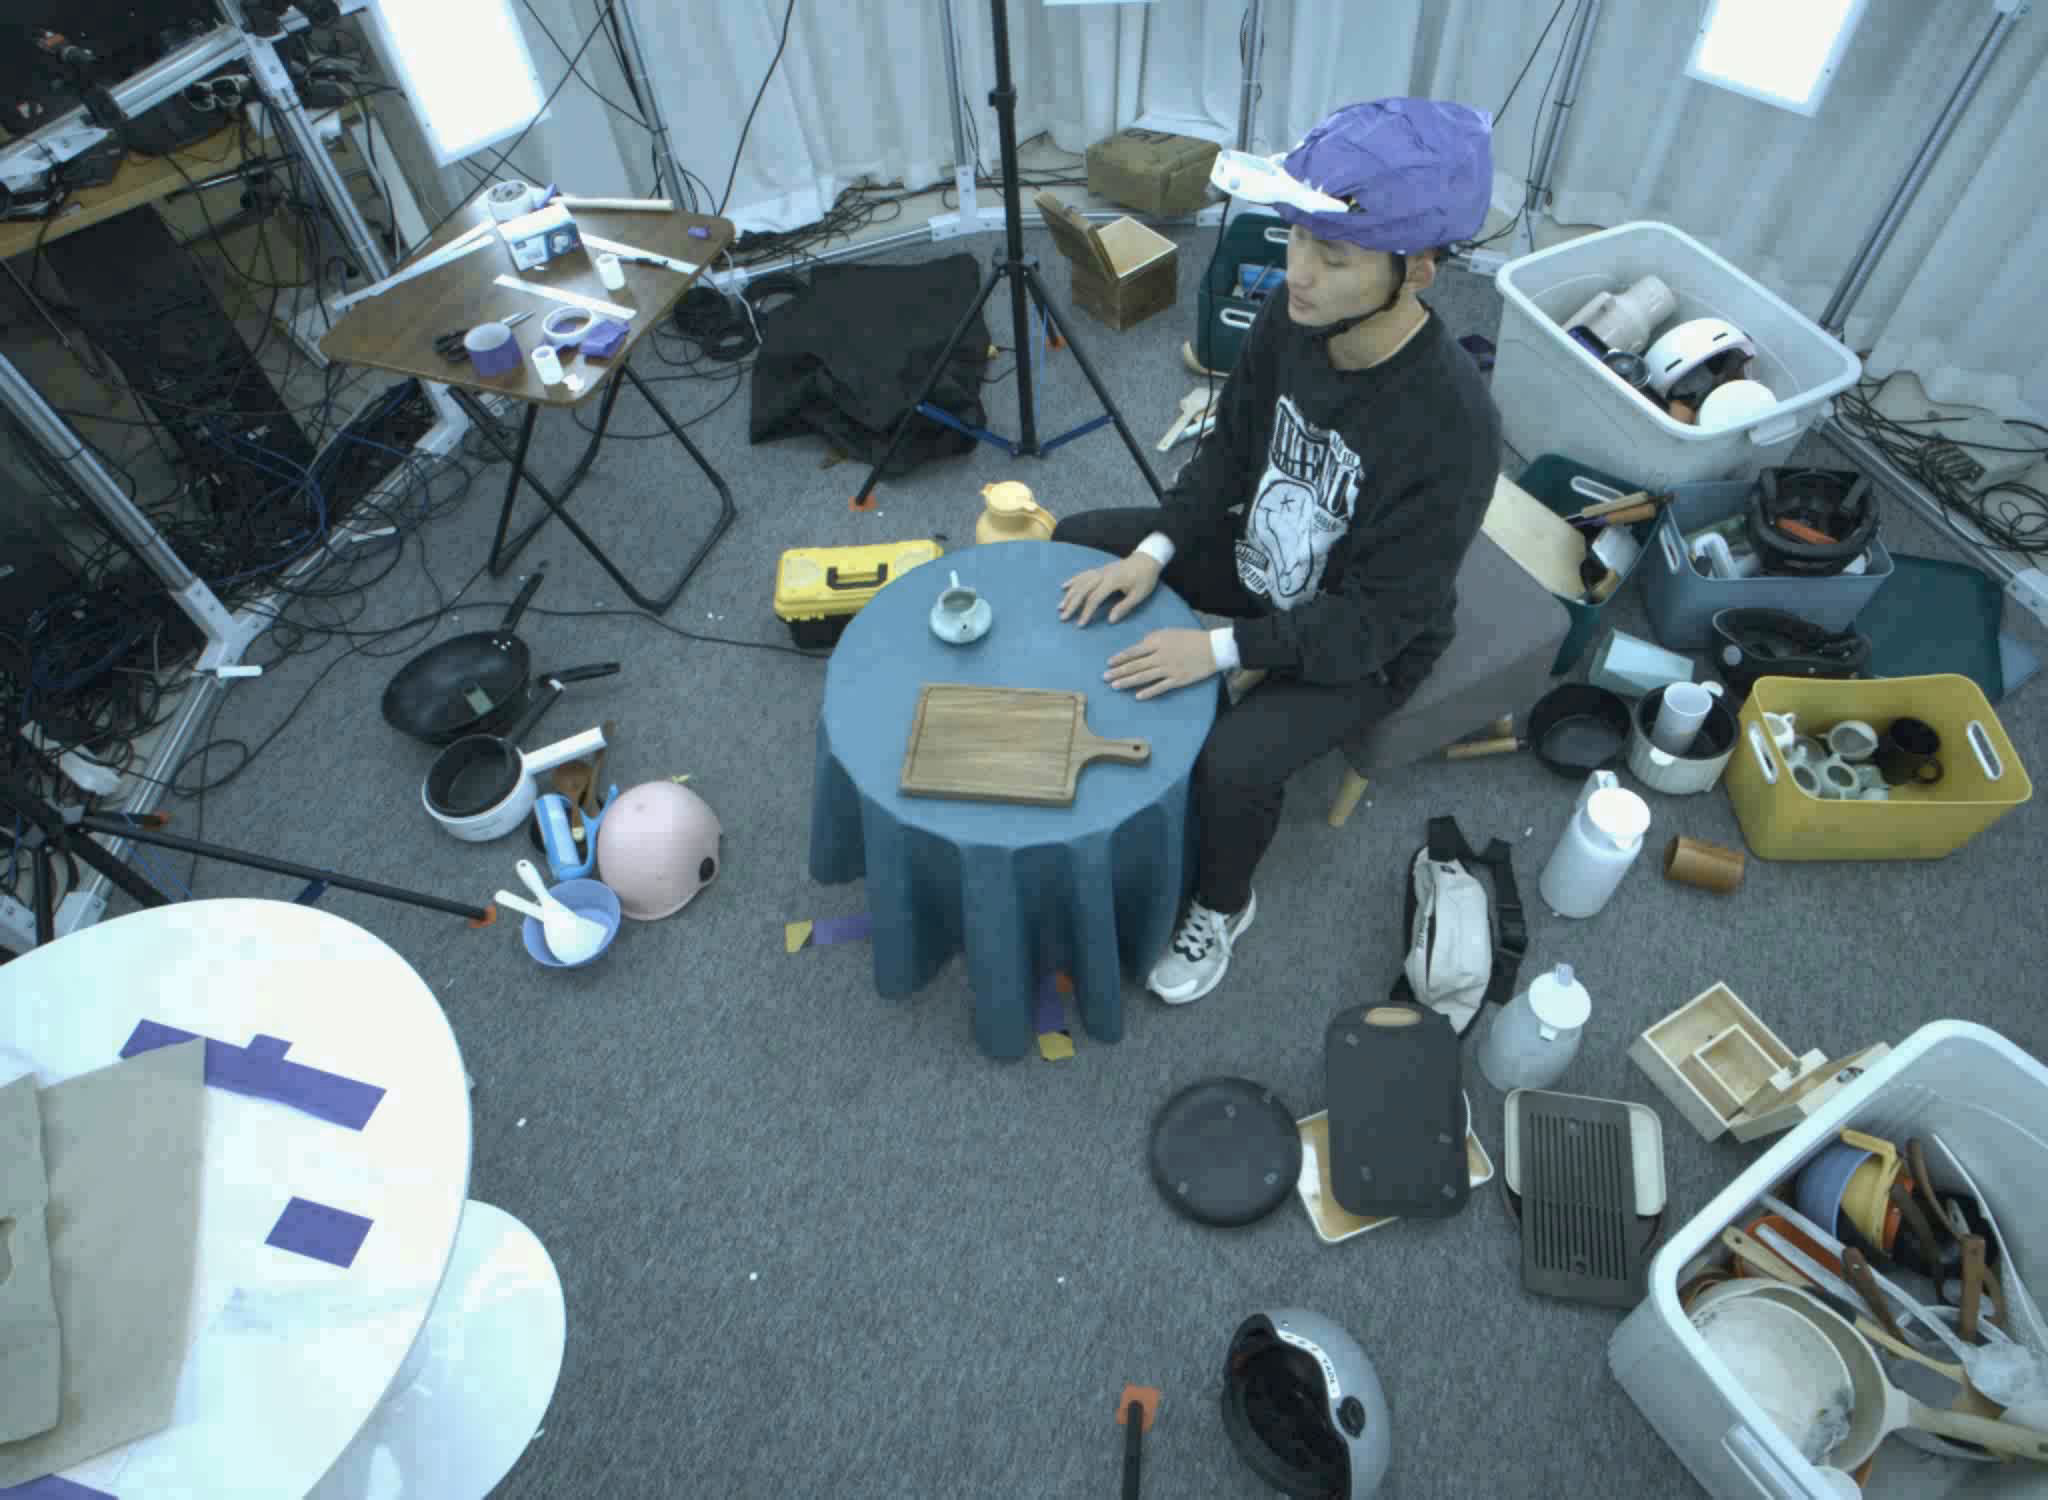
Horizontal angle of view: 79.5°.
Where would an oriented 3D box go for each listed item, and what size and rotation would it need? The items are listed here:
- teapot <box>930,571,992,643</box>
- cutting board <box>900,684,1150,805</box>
[{"bbox_3d":[-0.101,-0.217,1.905,0.096,0.062,0.135,-13,55,-6],"label":"teapot"},{"bbox_3d":[0.006,-0.010,1.776,0.351,0.023,0.199,3,55,4],"label":"cutting board"}]
